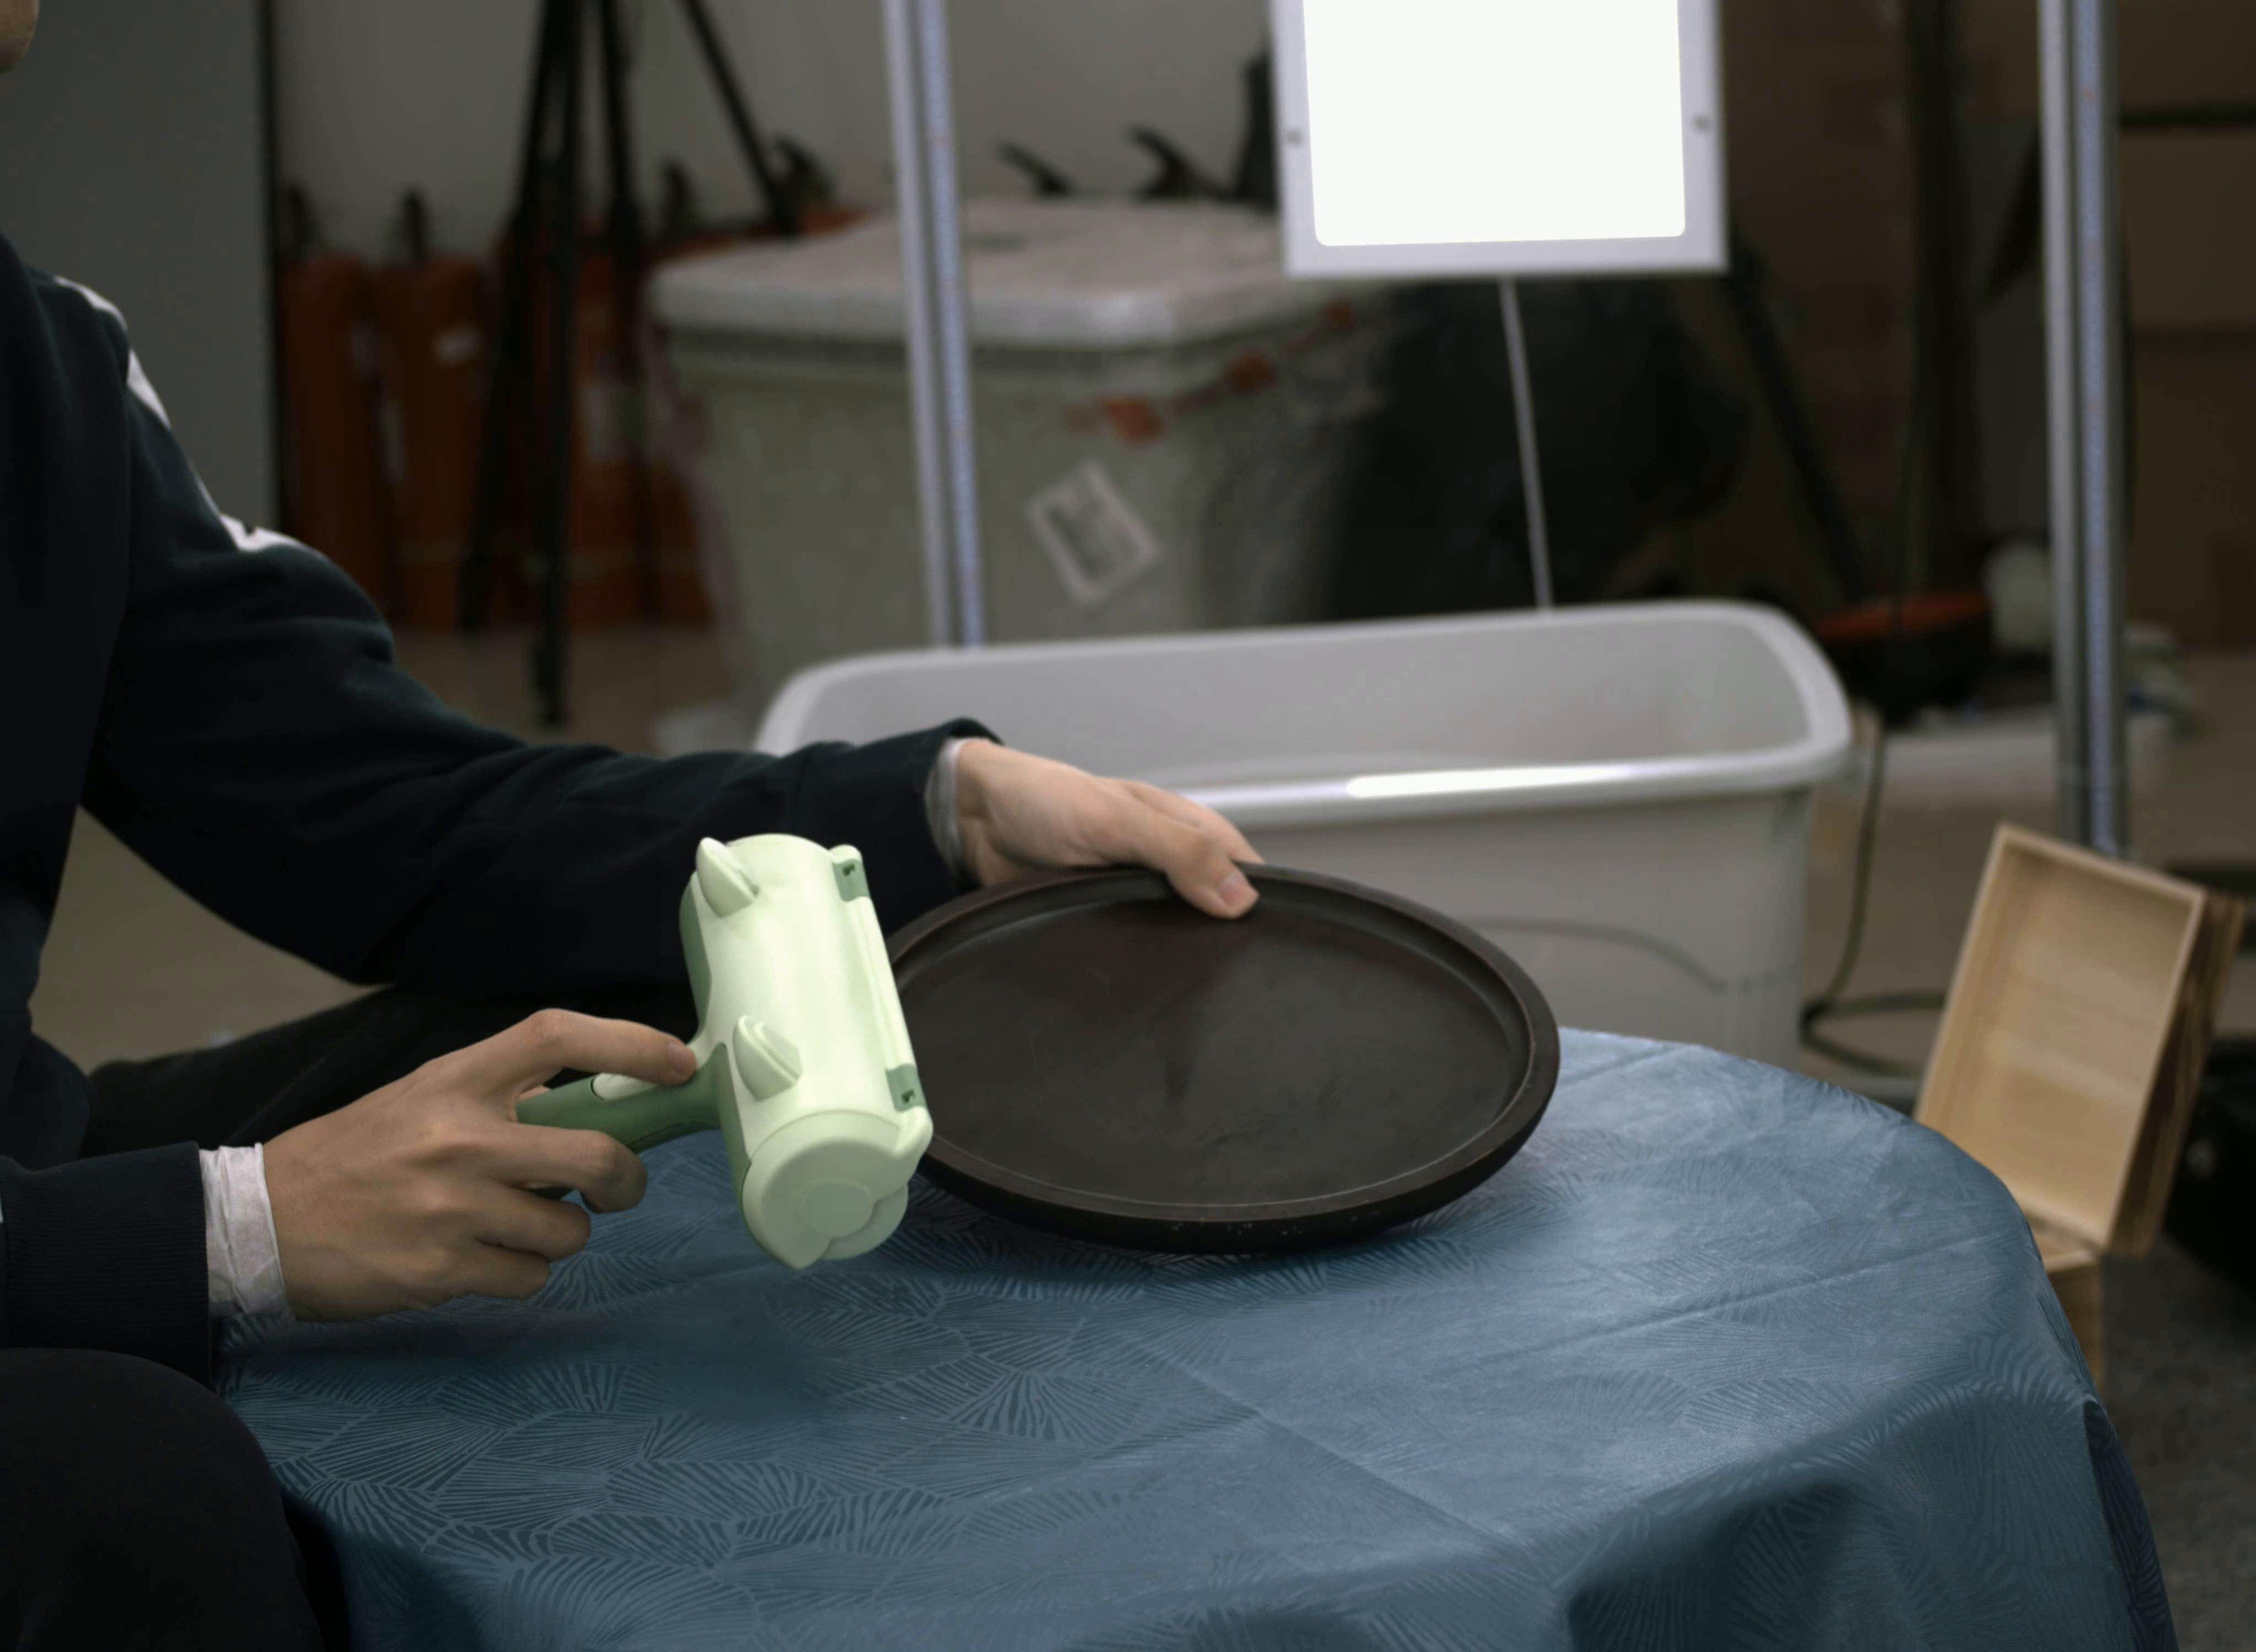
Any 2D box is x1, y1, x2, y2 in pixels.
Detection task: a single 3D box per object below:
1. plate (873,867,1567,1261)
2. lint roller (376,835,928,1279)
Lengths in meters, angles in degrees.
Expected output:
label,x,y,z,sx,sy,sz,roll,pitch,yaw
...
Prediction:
label,x,y,z,sx,sy,sz,roll,pitch,yaw
plate,0.026,0.080,1.911,0.254,0.029,0.254,-2,29,0
lint roller,-0.164,0.080,1.785,0.183,0.082,0.199,-16,31,0
